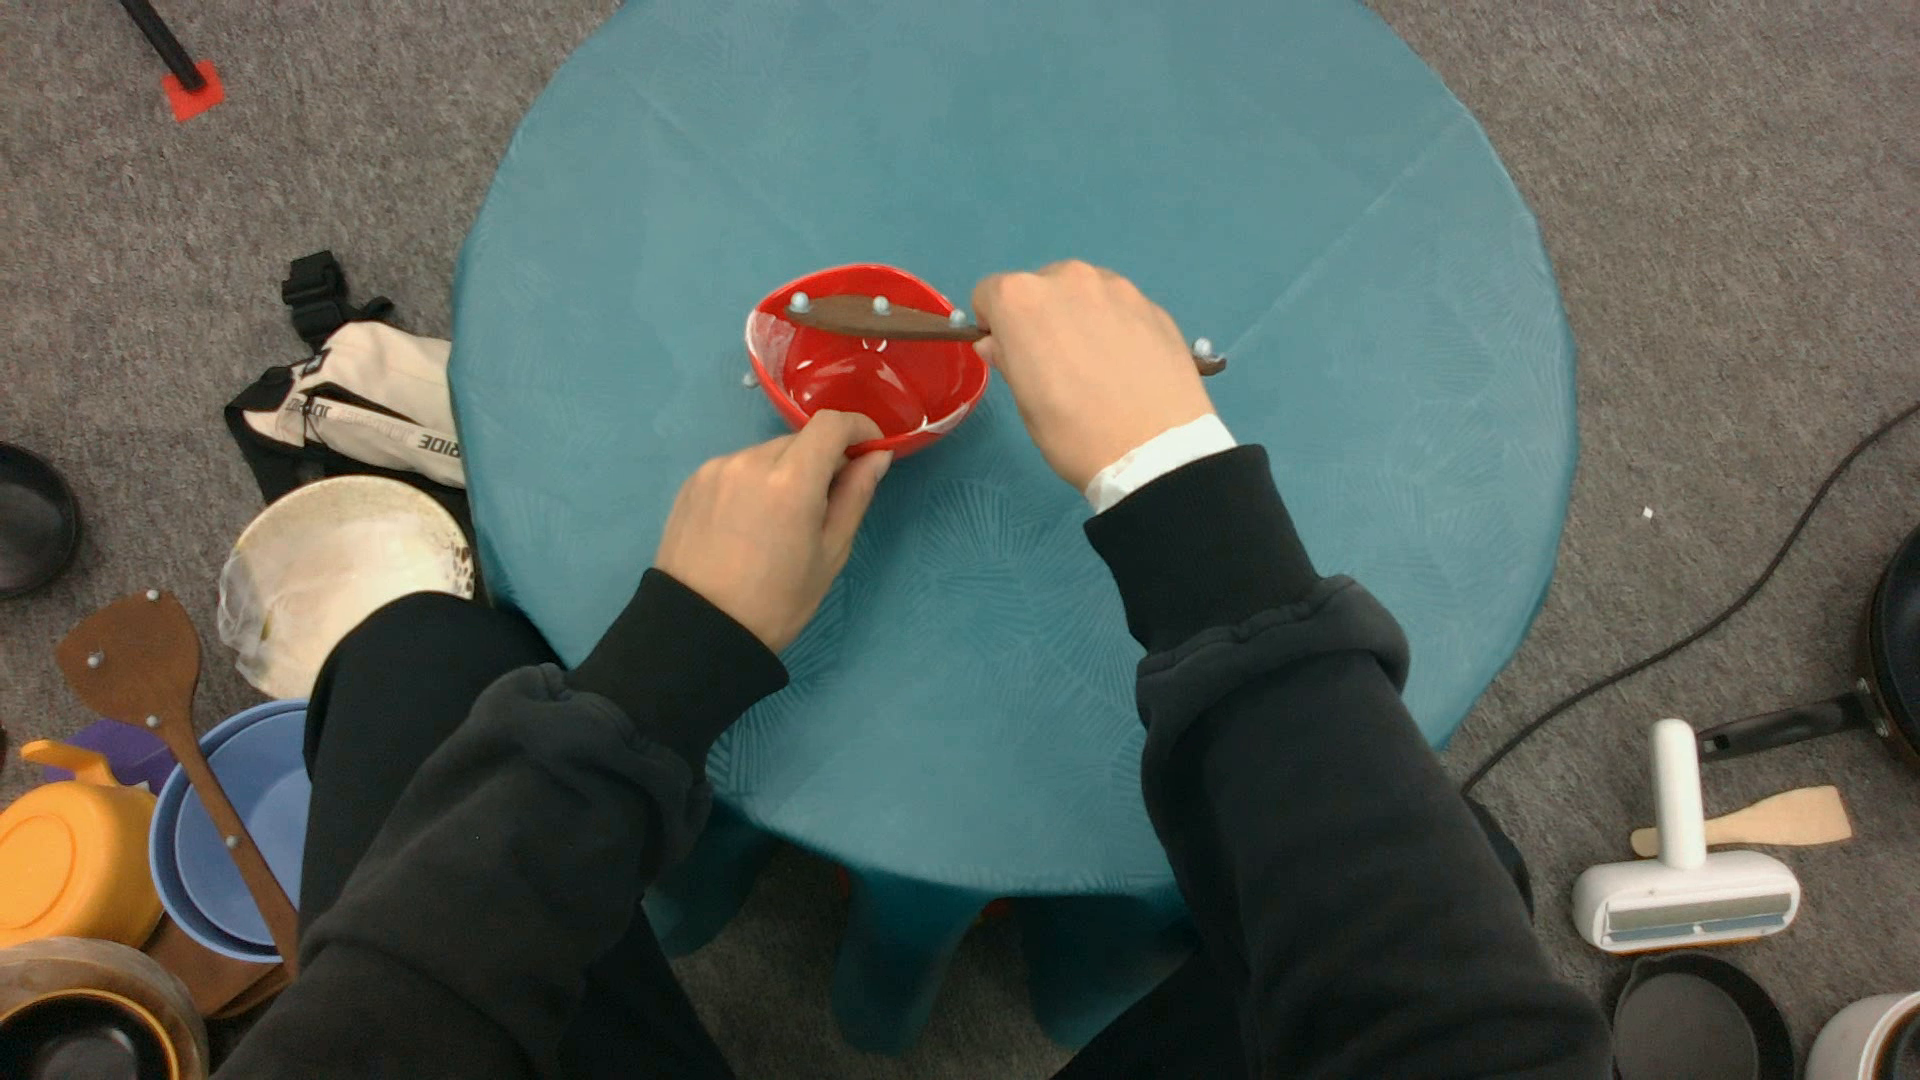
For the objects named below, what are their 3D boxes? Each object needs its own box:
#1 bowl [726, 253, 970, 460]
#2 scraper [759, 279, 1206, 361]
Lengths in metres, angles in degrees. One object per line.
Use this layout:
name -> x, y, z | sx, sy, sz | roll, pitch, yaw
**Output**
bowl -> -0.058, -0.083, 0.681 | 0.119, 0.051, 0.119 | 8, 52, -10
scraper -> 0.009, -0.099, 0.629 | 0.211, 0.011, 0.076 | 12, 23, 26
